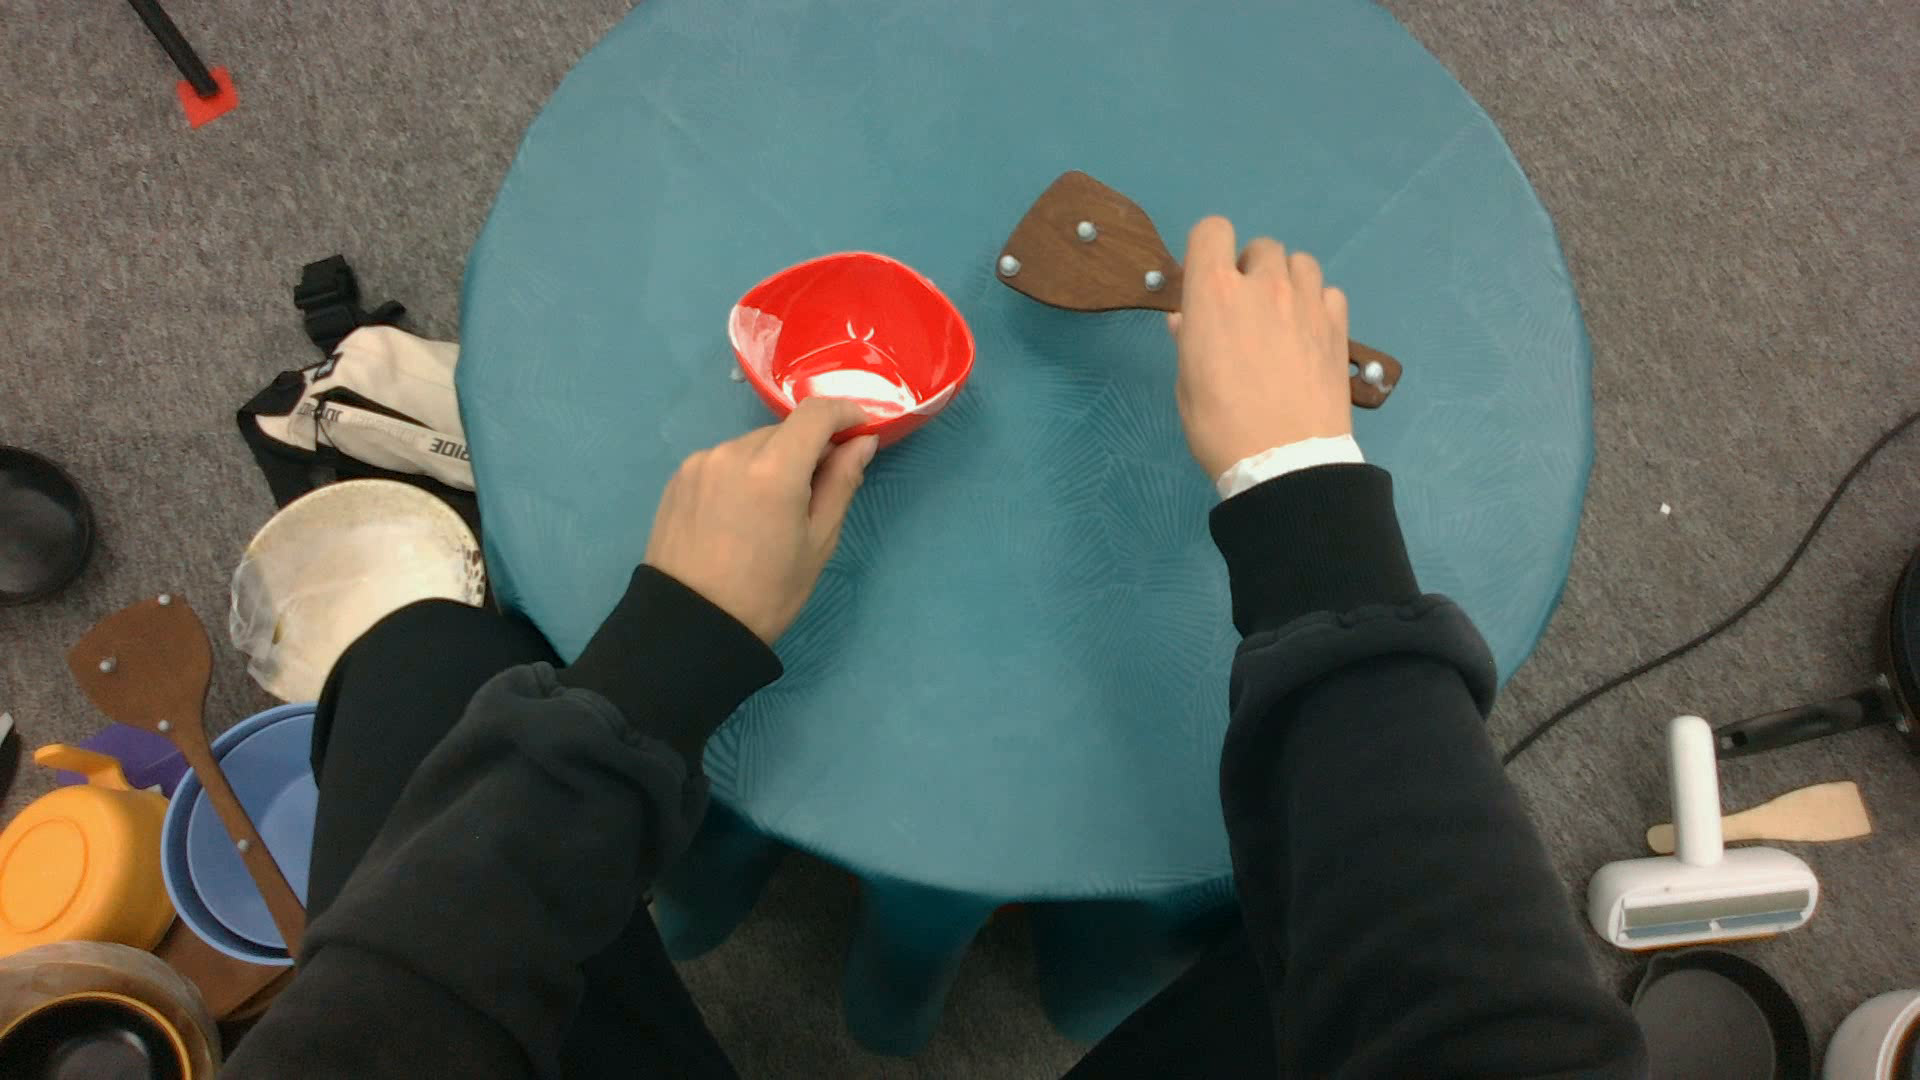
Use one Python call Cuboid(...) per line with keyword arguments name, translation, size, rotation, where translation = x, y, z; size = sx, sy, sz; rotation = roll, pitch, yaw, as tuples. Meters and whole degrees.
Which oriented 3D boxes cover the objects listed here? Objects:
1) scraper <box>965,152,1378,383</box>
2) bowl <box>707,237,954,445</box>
Cuboid(name="scraper", translation=(0.099, -0.125, 0.657), size=(0.211, 0.011, 0.076), rotation=(30, 76, 26))
Cuboid(name="bowl", translation=(-0.065, -0.091, 0.677), size=(0.119, 0.051, 0.119), rotation=(5, 52, -7))
